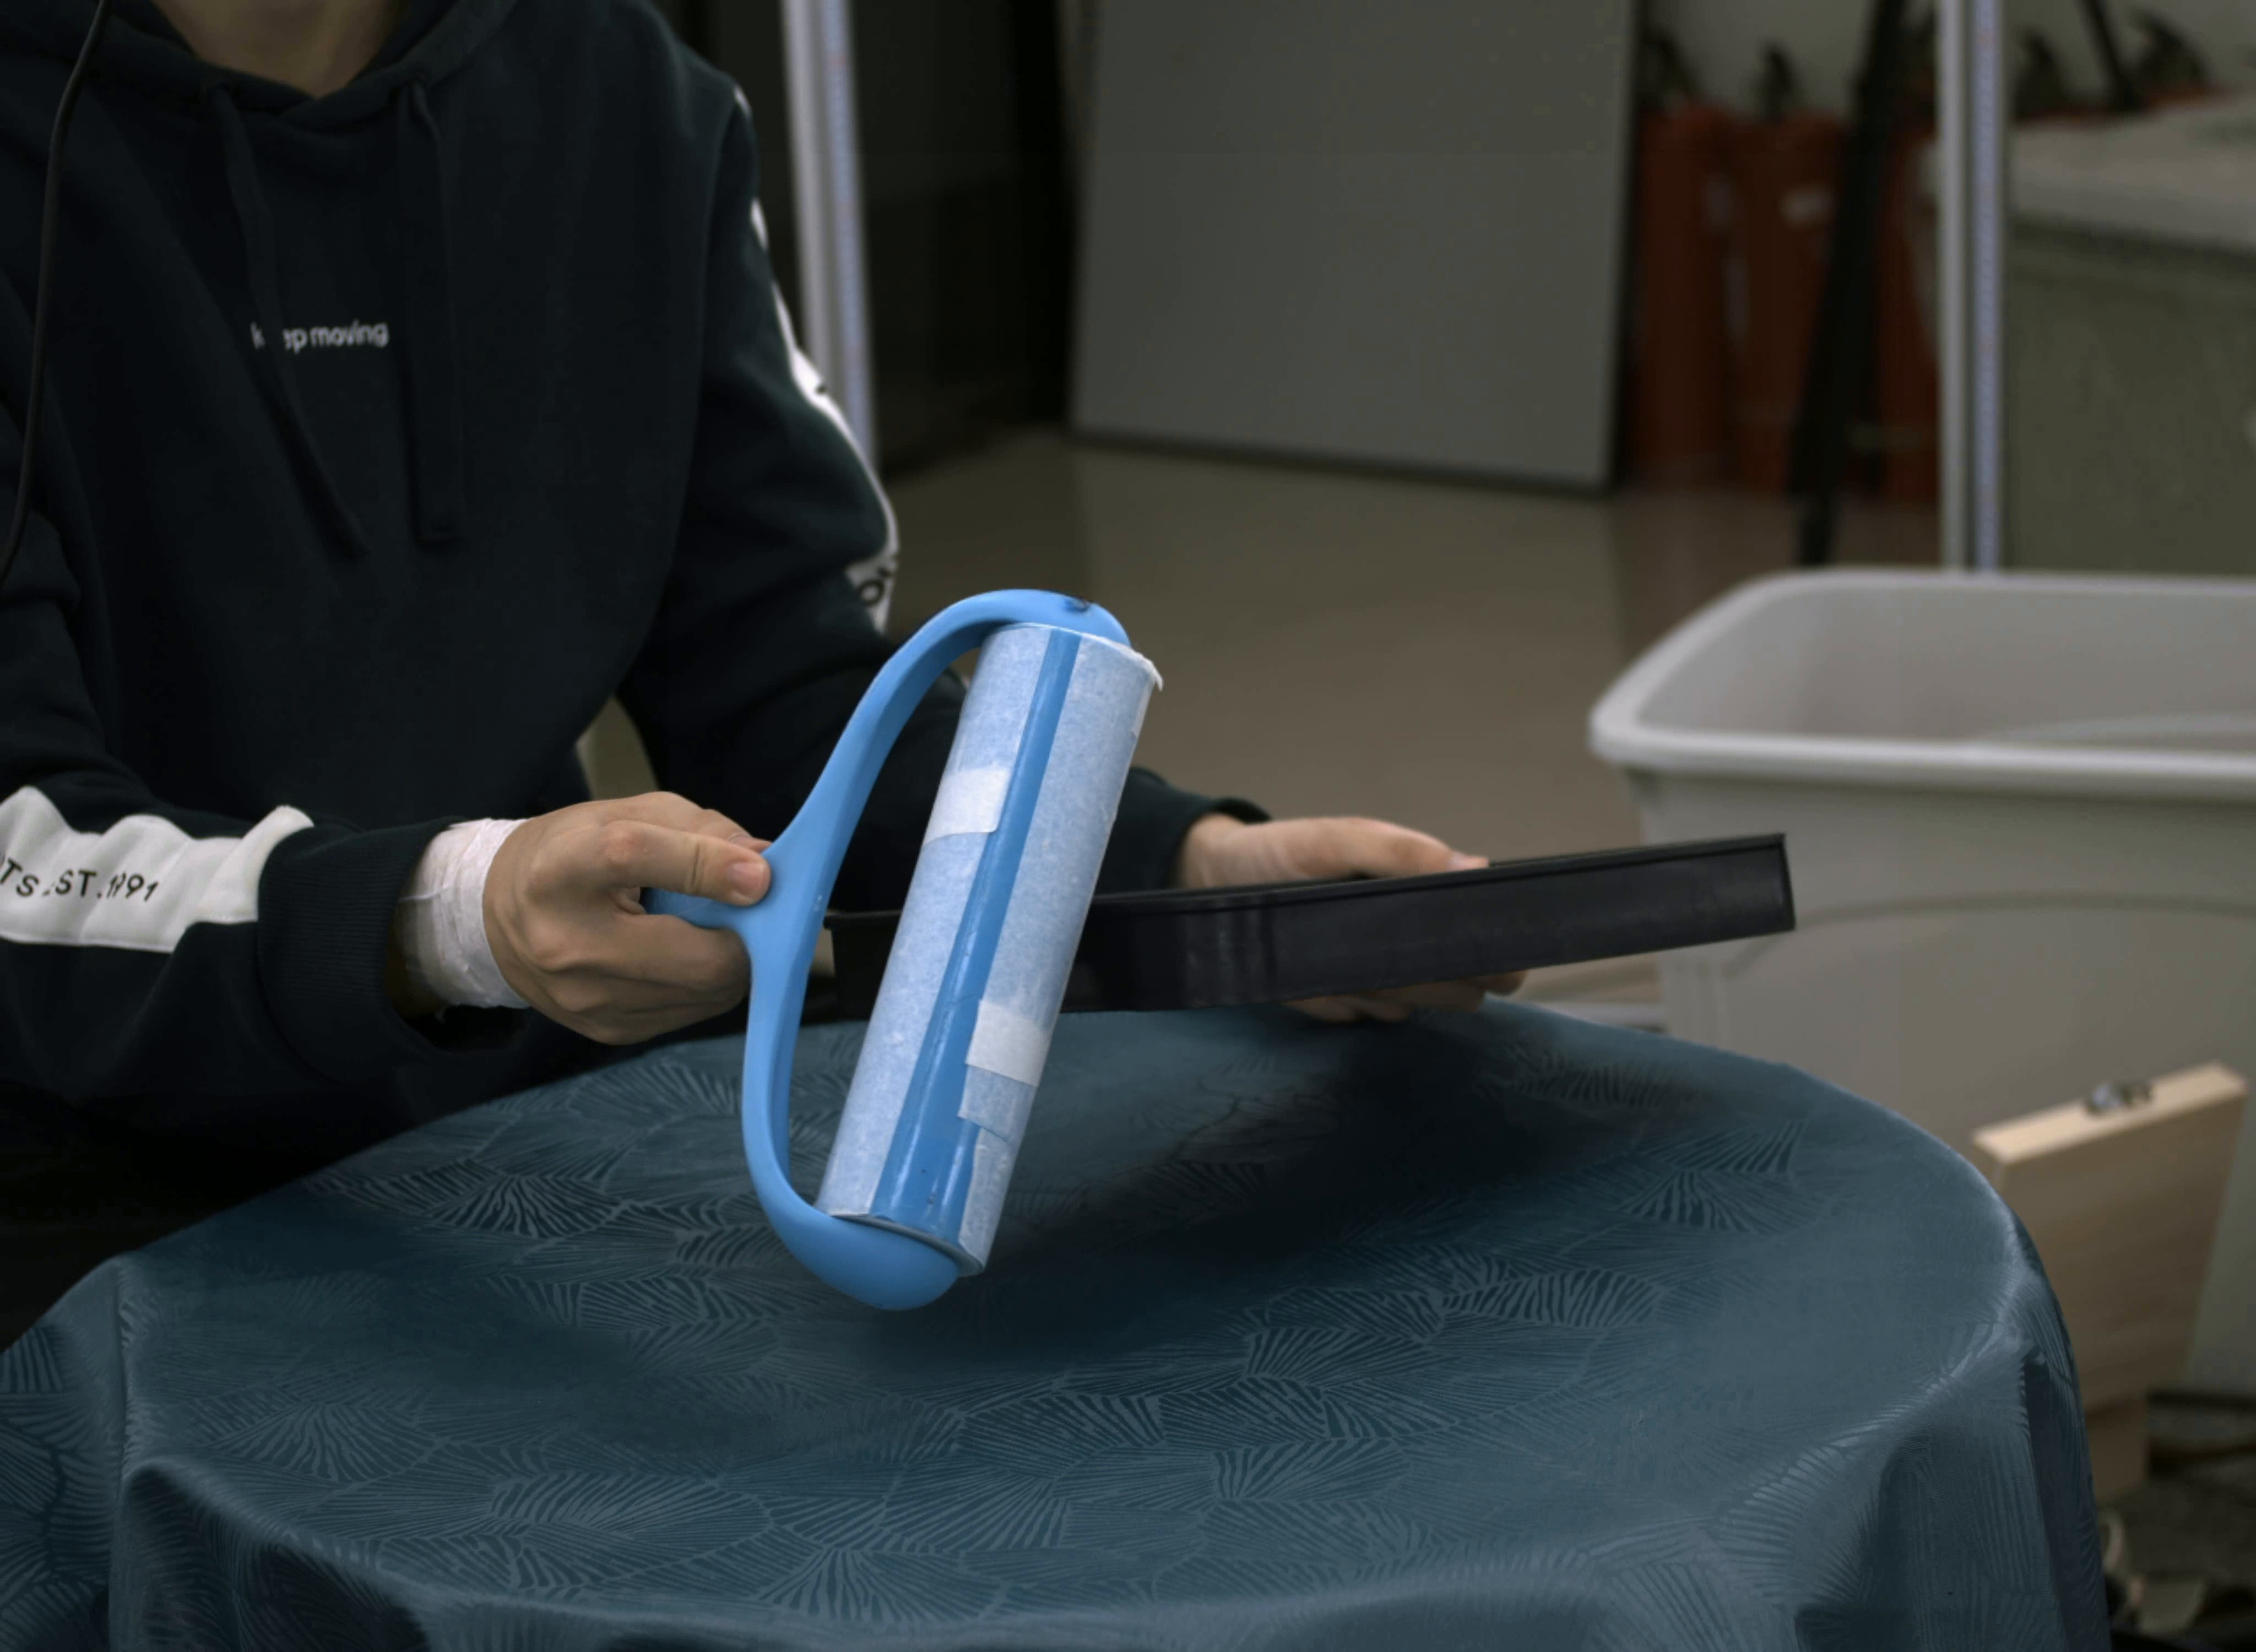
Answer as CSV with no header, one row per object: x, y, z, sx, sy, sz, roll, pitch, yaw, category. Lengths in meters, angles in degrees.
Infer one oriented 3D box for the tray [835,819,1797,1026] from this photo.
0.068,0.034,1.763,0.186,0.037,0.311,-8,-1,41,tray

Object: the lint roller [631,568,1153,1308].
-0.092,0.032,1.632,0.181,0.231,0.067,0,-22,32,lint roller
